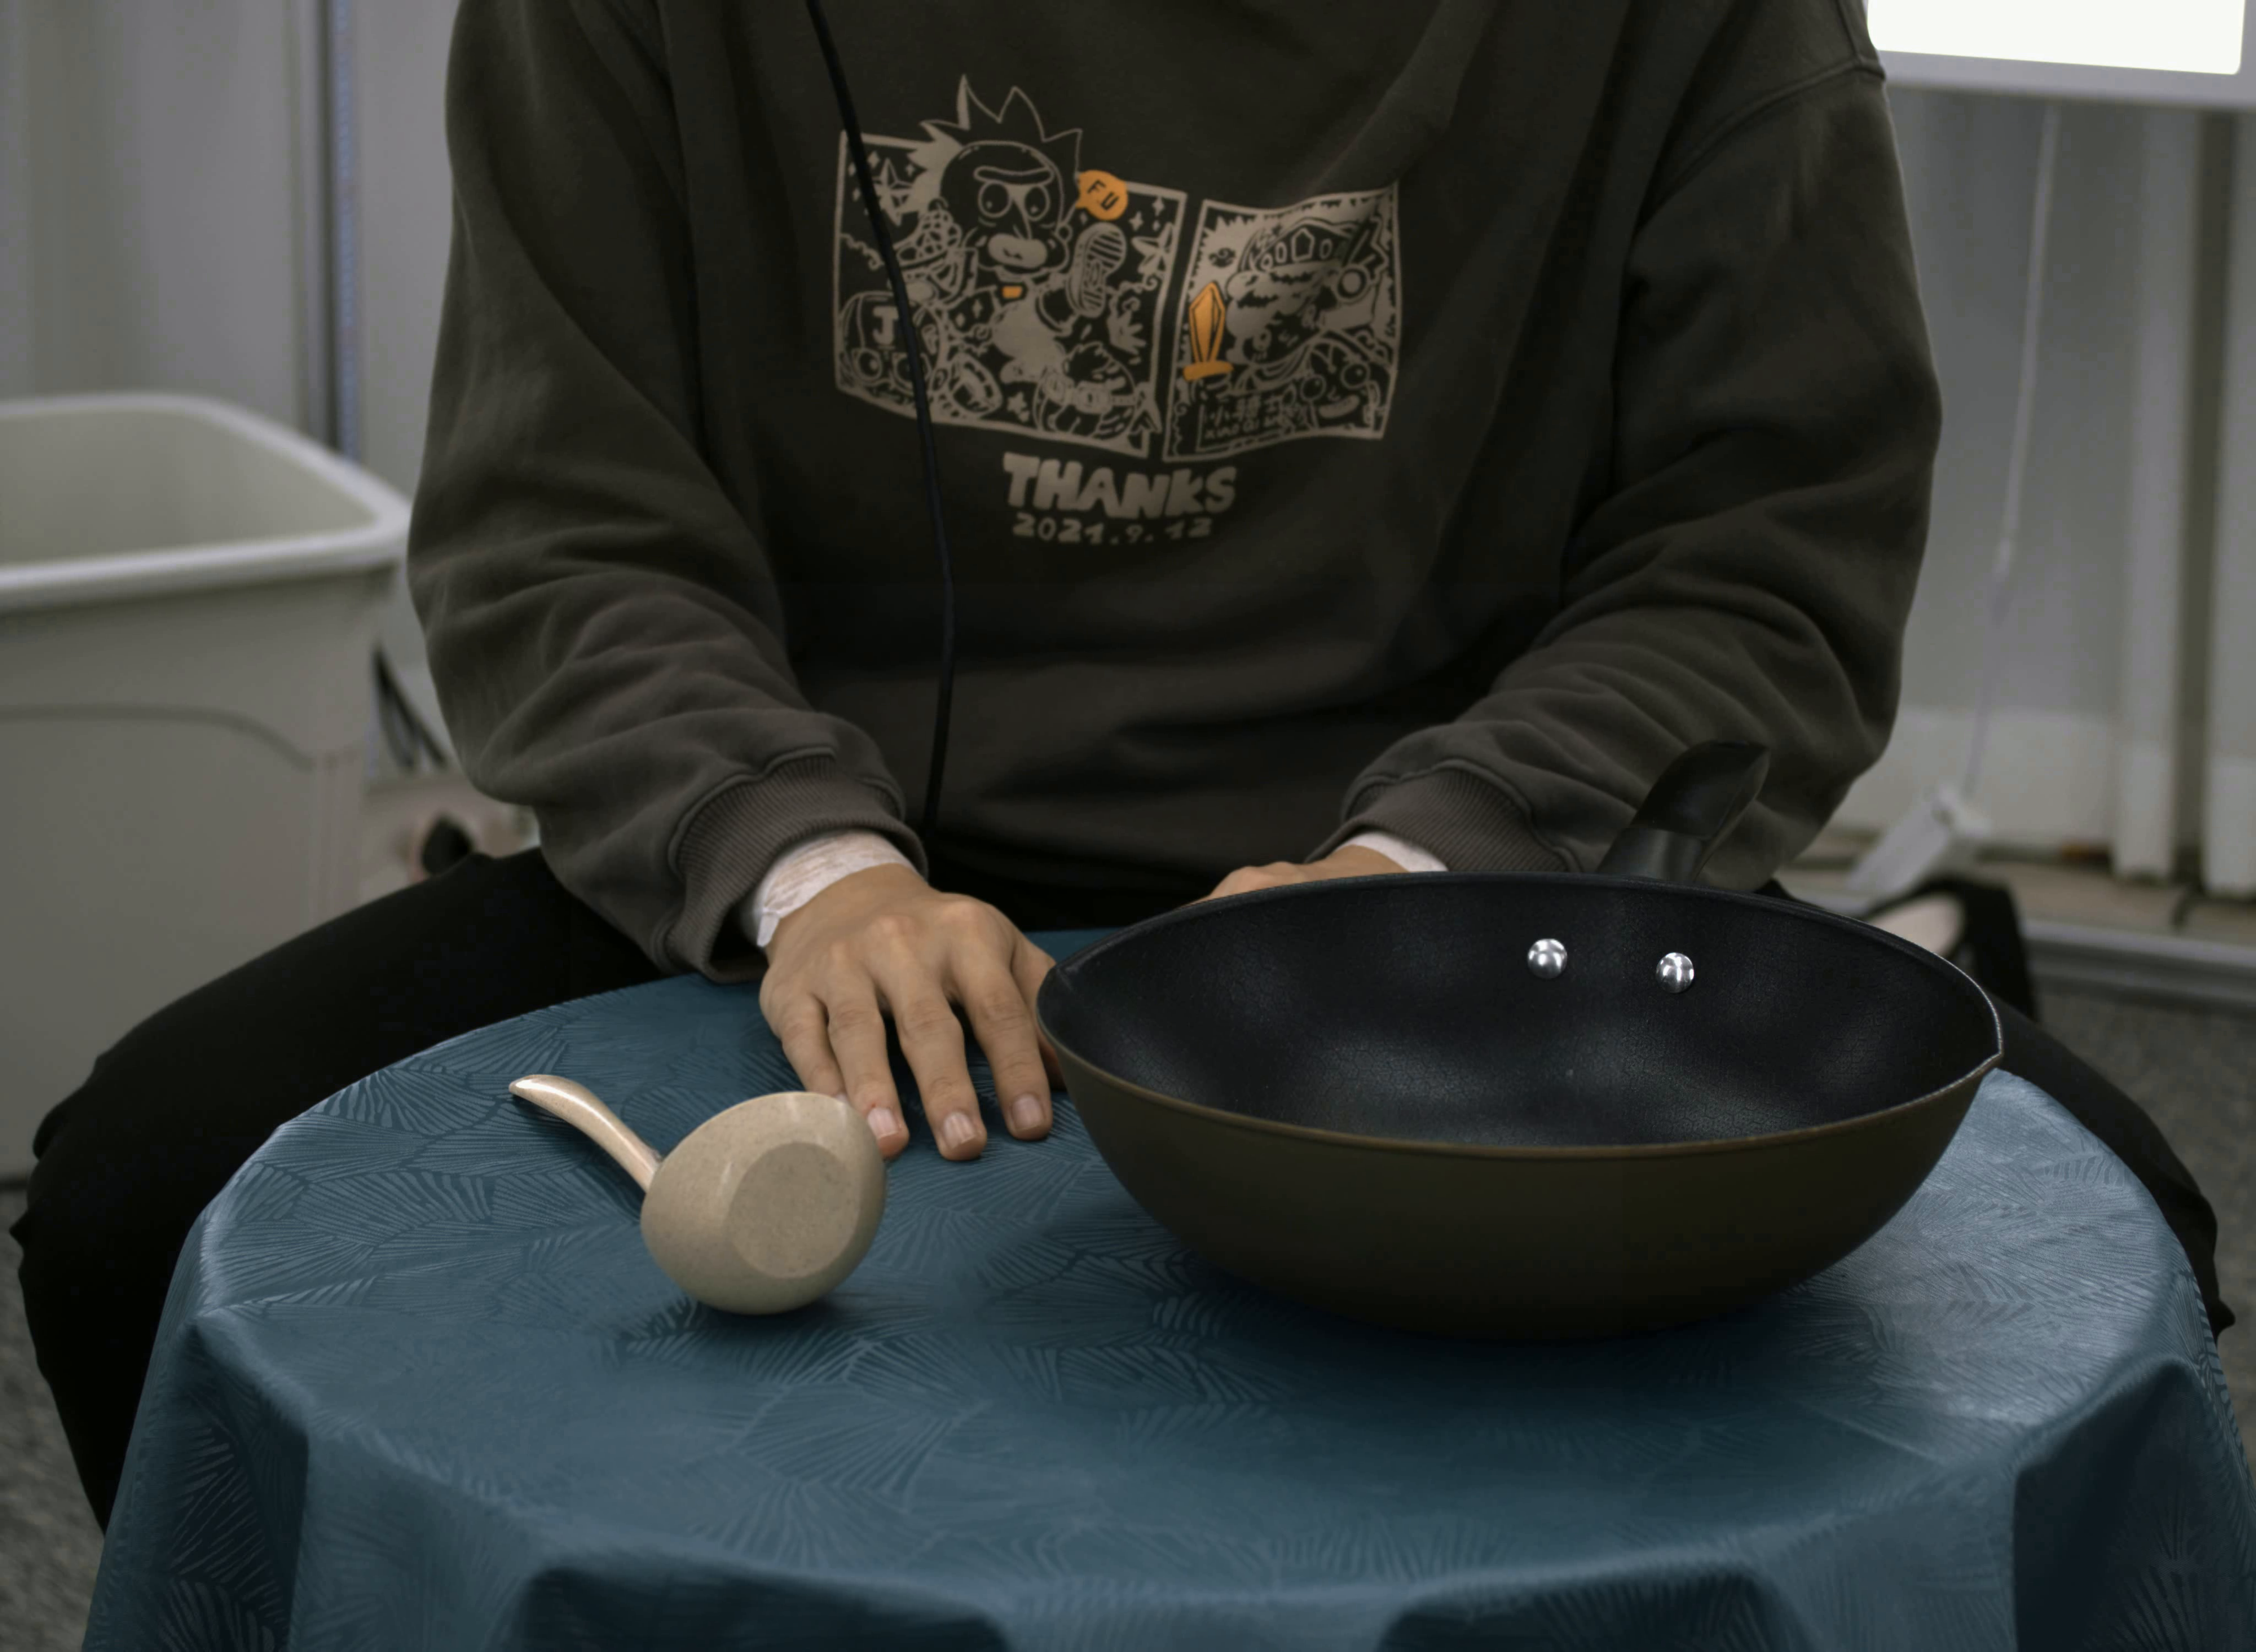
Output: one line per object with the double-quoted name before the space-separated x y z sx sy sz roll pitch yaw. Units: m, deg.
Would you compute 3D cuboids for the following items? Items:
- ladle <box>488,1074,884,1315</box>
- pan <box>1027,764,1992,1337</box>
"ladle" -0.149 0.082 1.599 0.072 0.073 0.251 -13 20 -24
"pan" 0.139 0.066 1.647 0.285 0.087 0.463 5 15 17
